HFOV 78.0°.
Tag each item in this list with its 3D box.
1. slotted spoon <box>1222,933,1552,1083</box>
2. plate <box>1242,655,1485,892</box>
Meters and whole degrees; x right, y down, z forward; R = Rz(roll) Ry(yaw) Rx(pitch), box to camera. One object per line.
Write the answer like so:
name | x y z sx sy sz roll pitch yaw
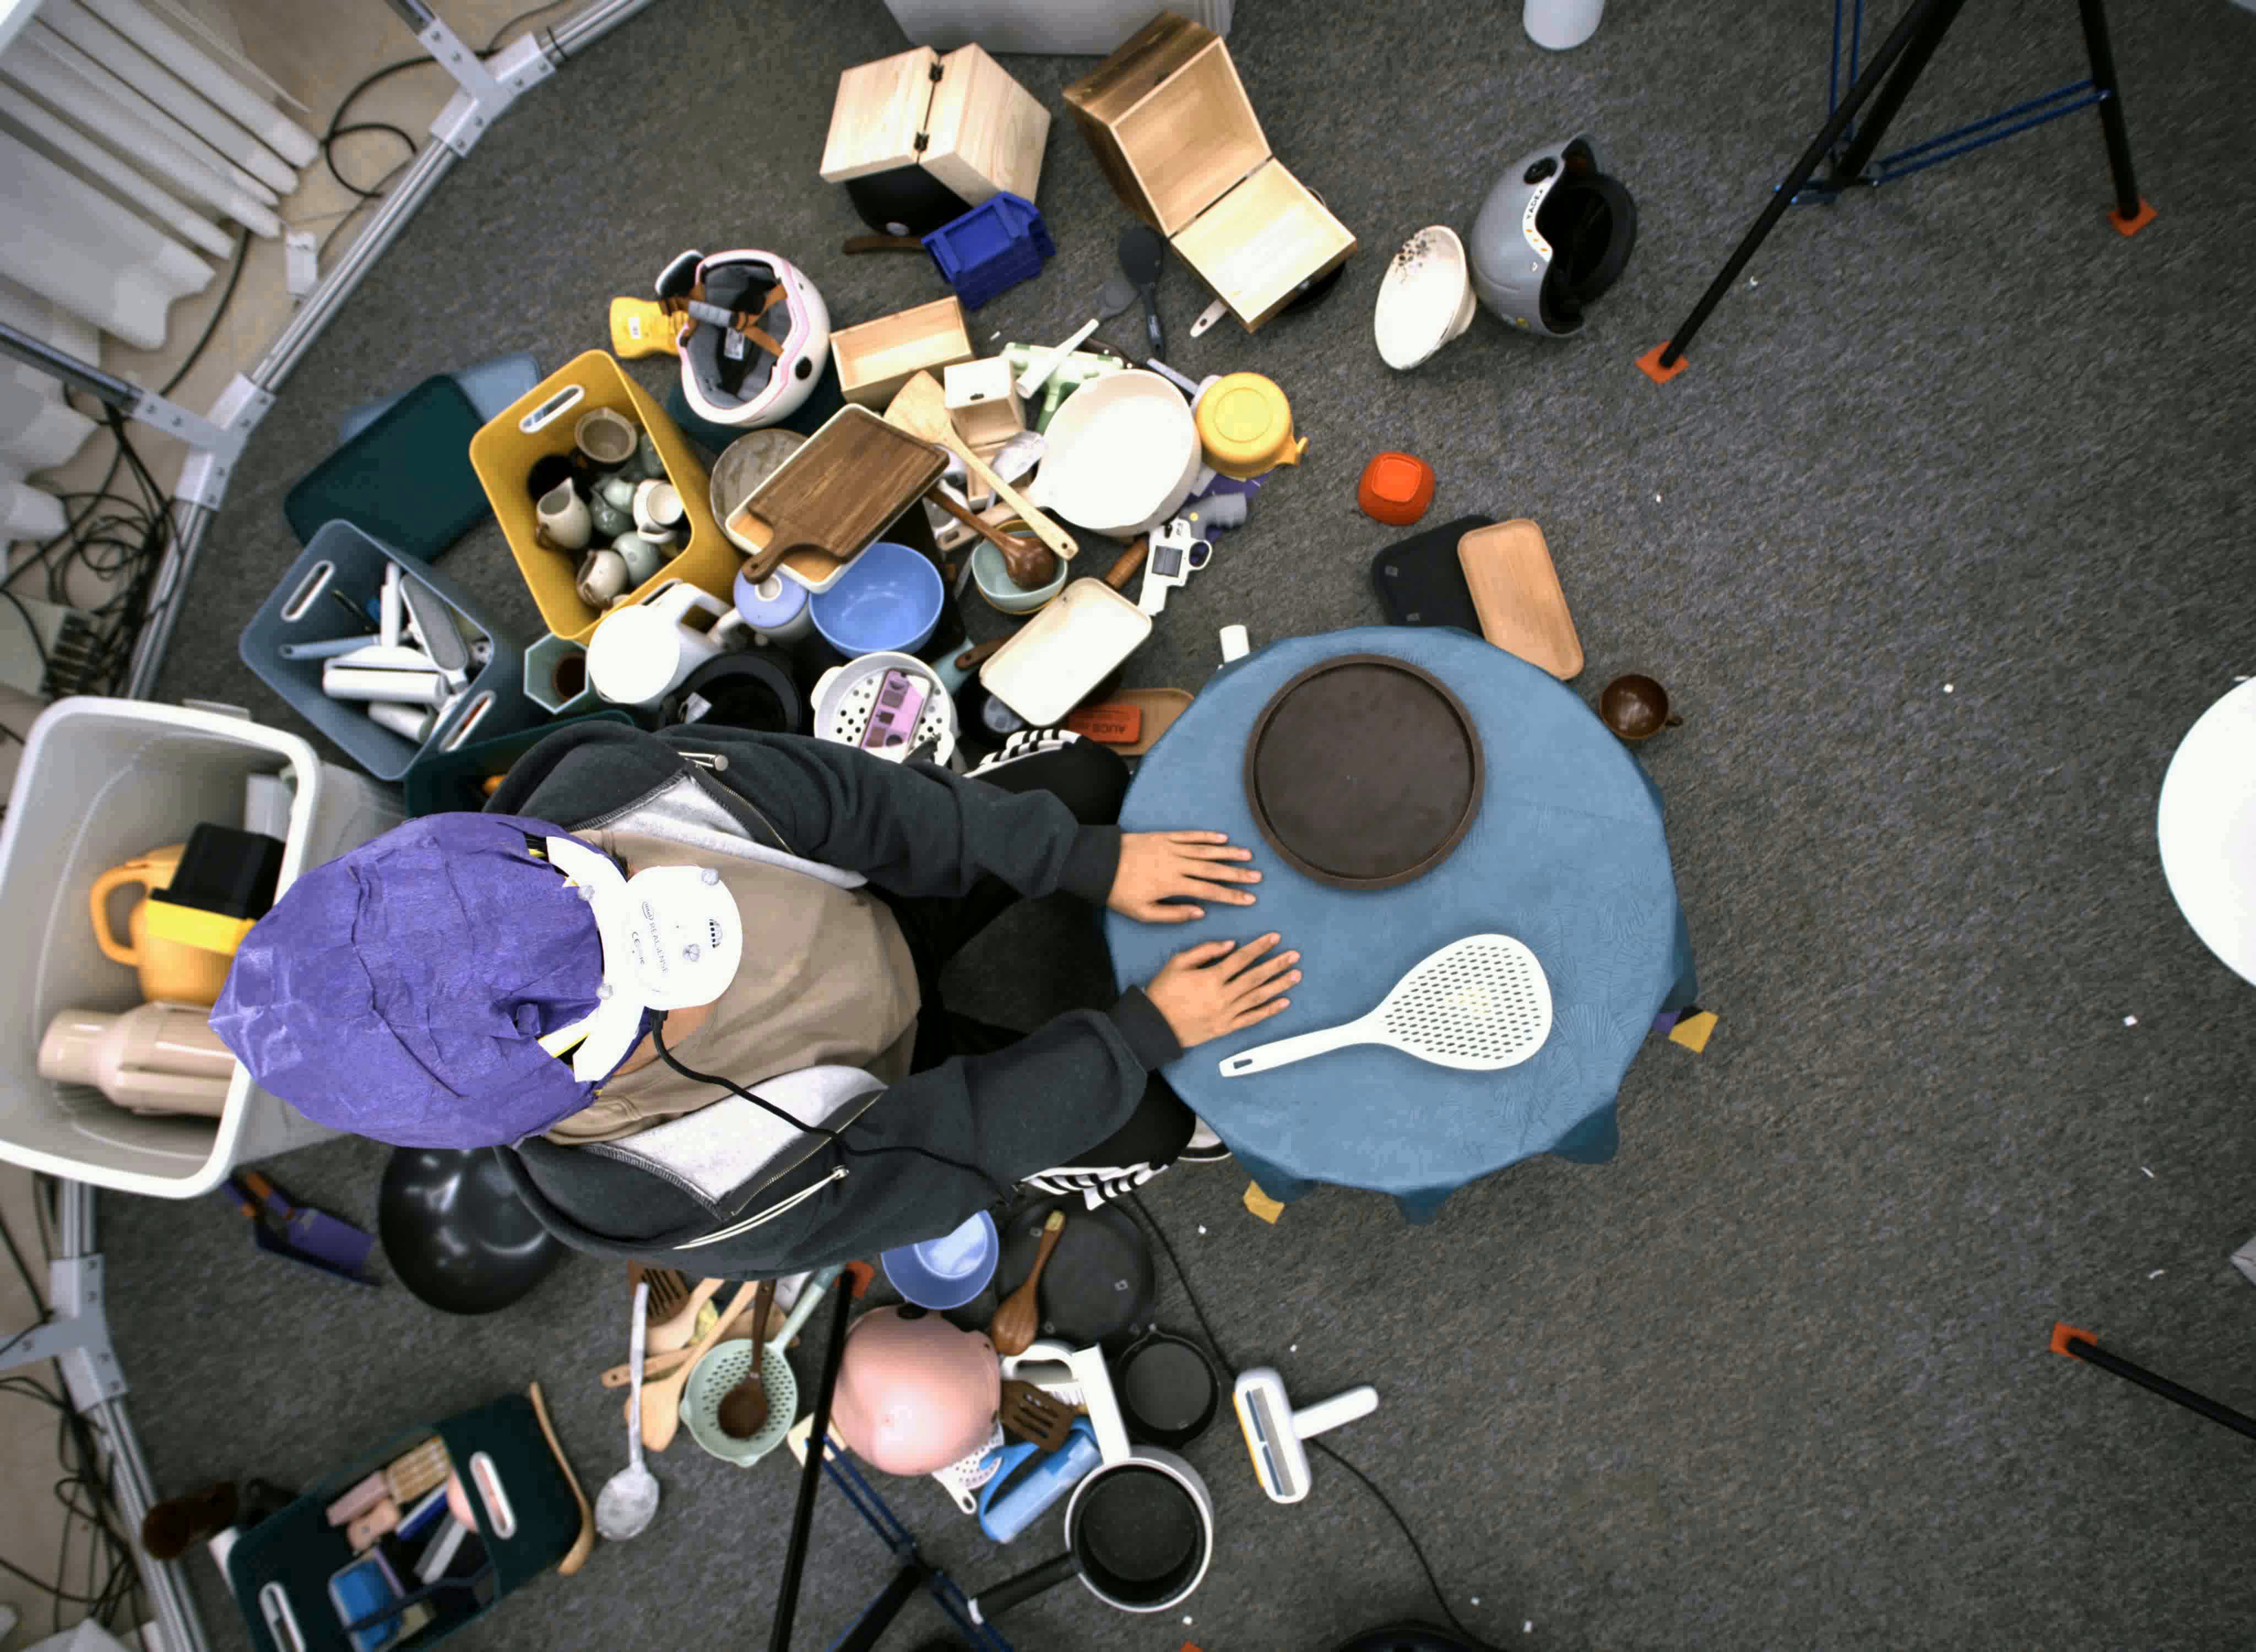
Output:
slotted spoon | 0.260 0.208 1.433 0.350 0.050 0.136 -17 86 9
plate | 0.248 -0.057 1.458 0.256 0.029 0.254 -1 88 10
